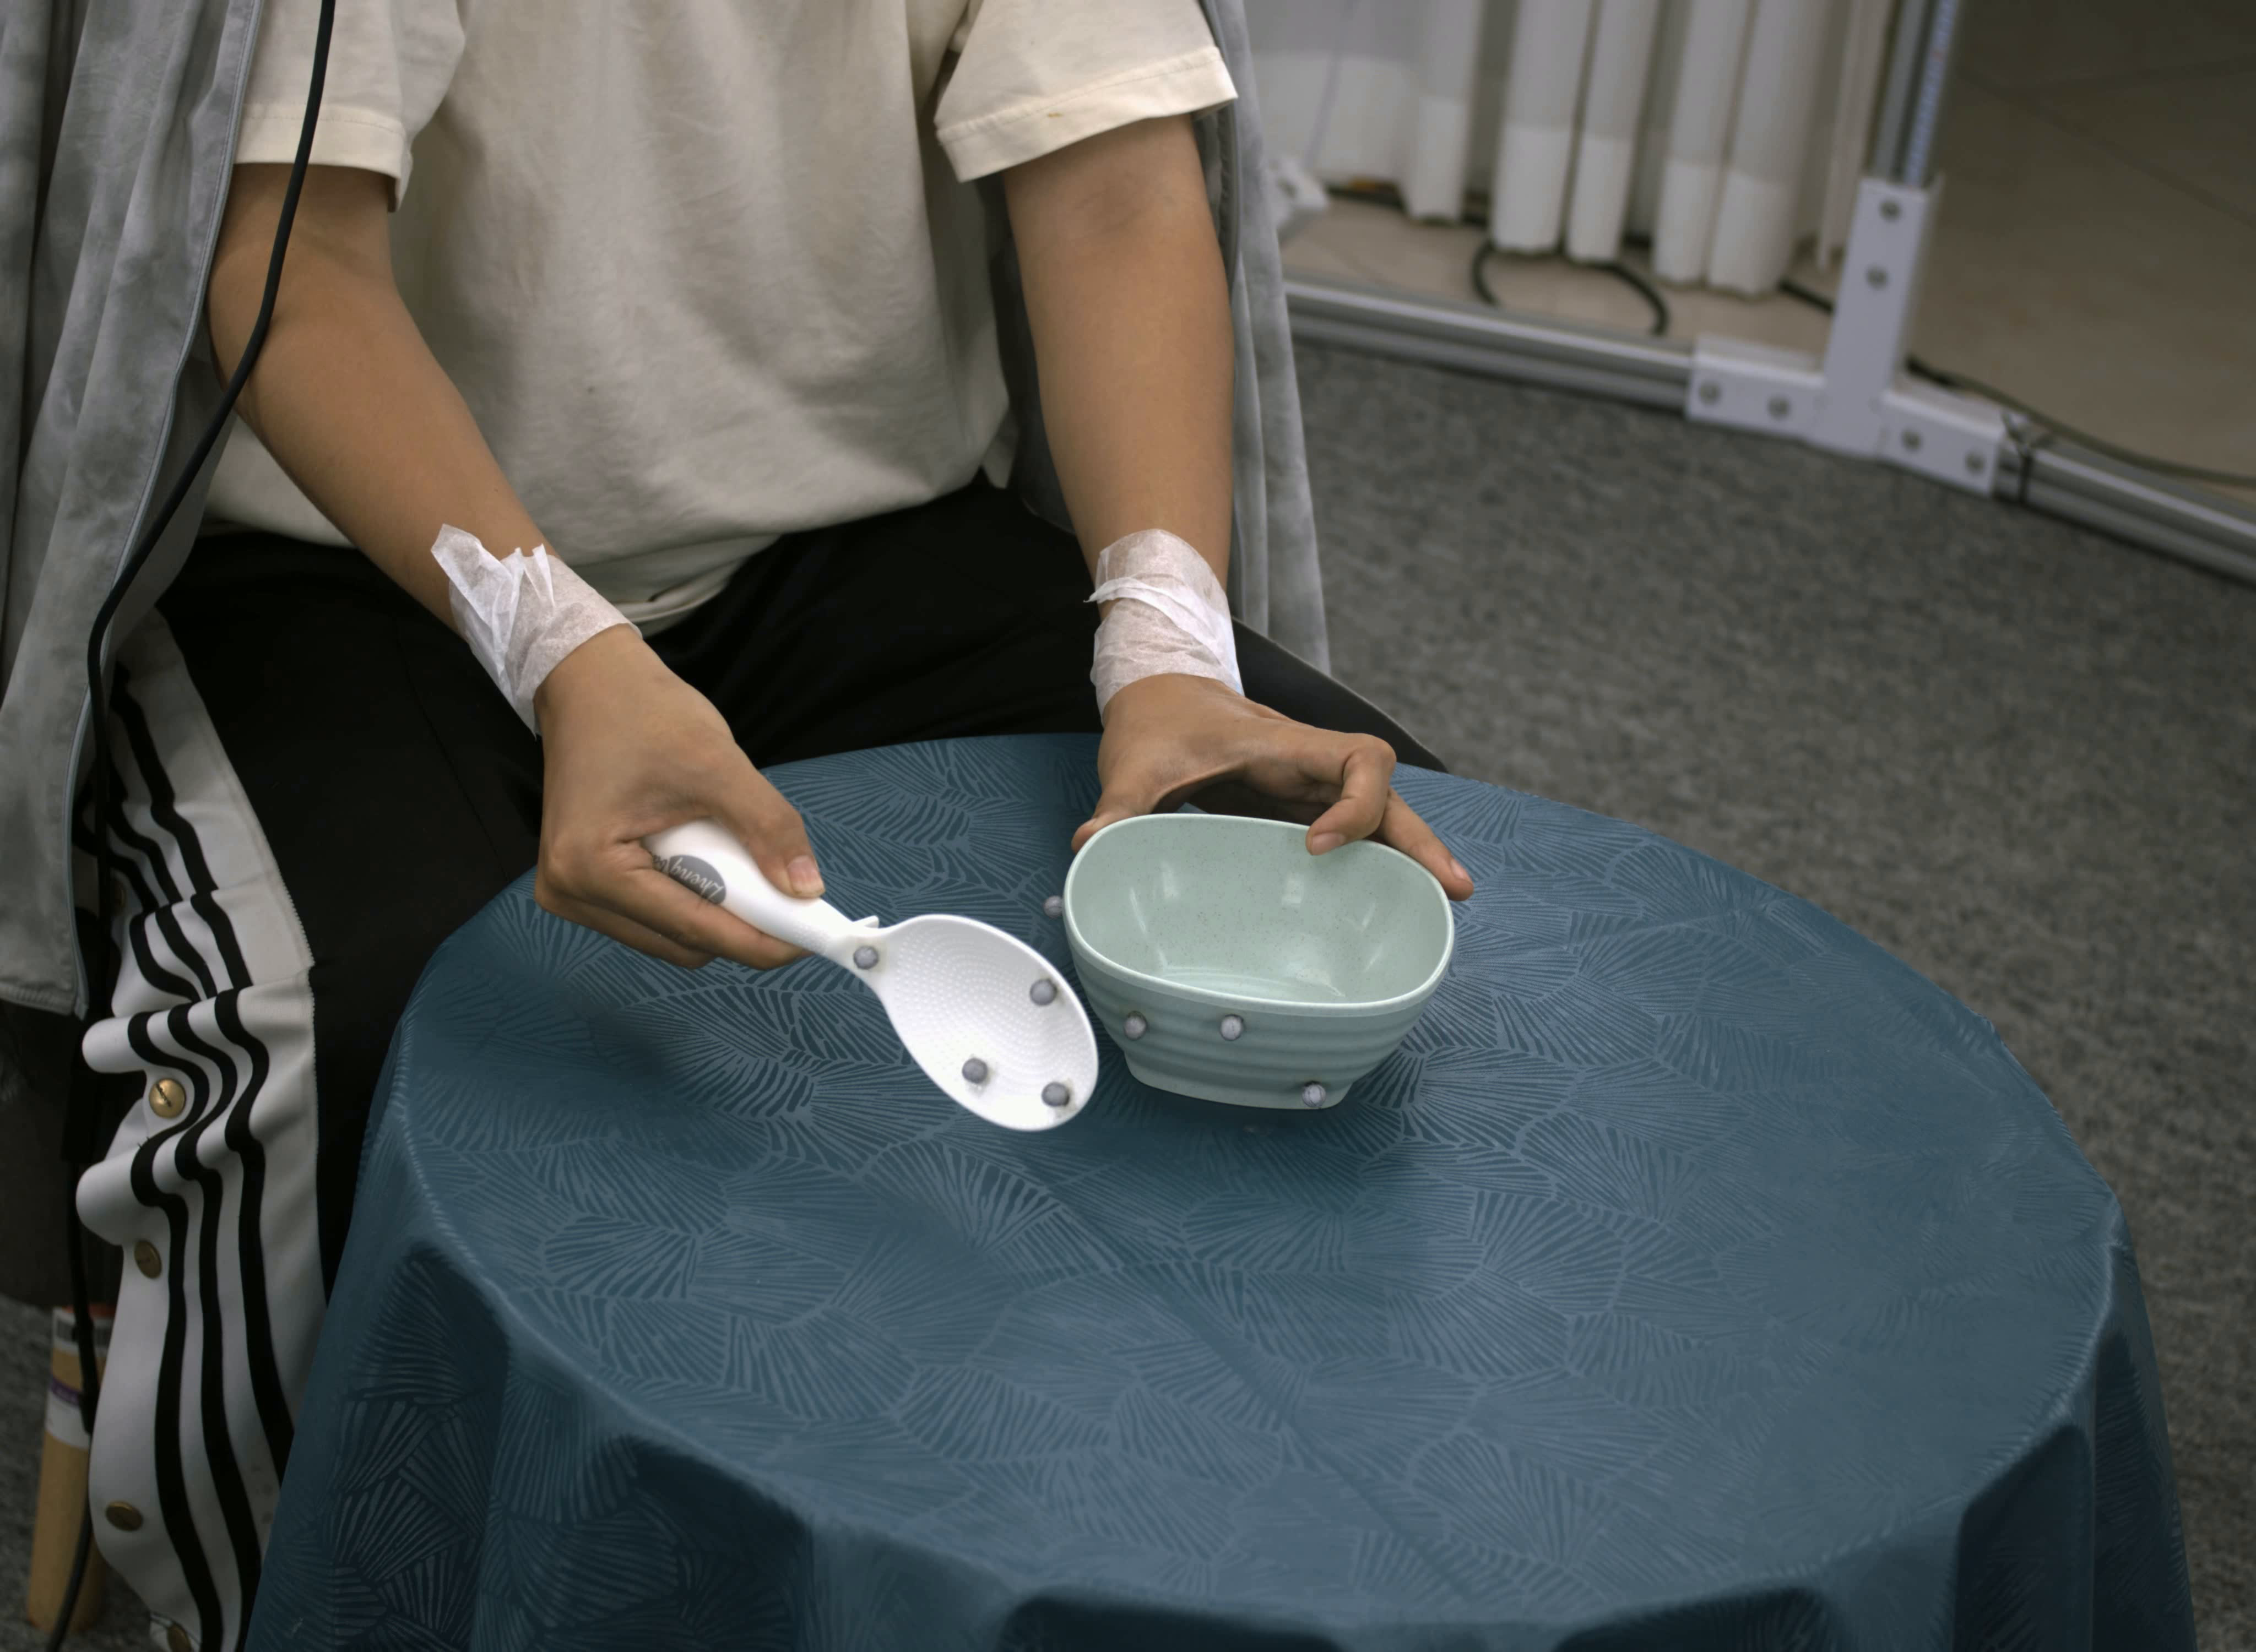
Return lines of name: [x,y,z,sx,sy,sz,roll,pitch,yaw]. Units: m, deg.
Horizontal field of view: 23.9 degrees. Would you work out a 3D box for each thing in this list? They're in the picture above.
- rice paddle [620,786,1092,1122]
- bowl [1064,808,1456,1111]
rice paddle: [-0.090,0.040,1.793,0.206,0.068,0.029,28,34,33]
bowl: [0.044,0.053,1.890,0.151,0.058,0.152,4,30,-3]
